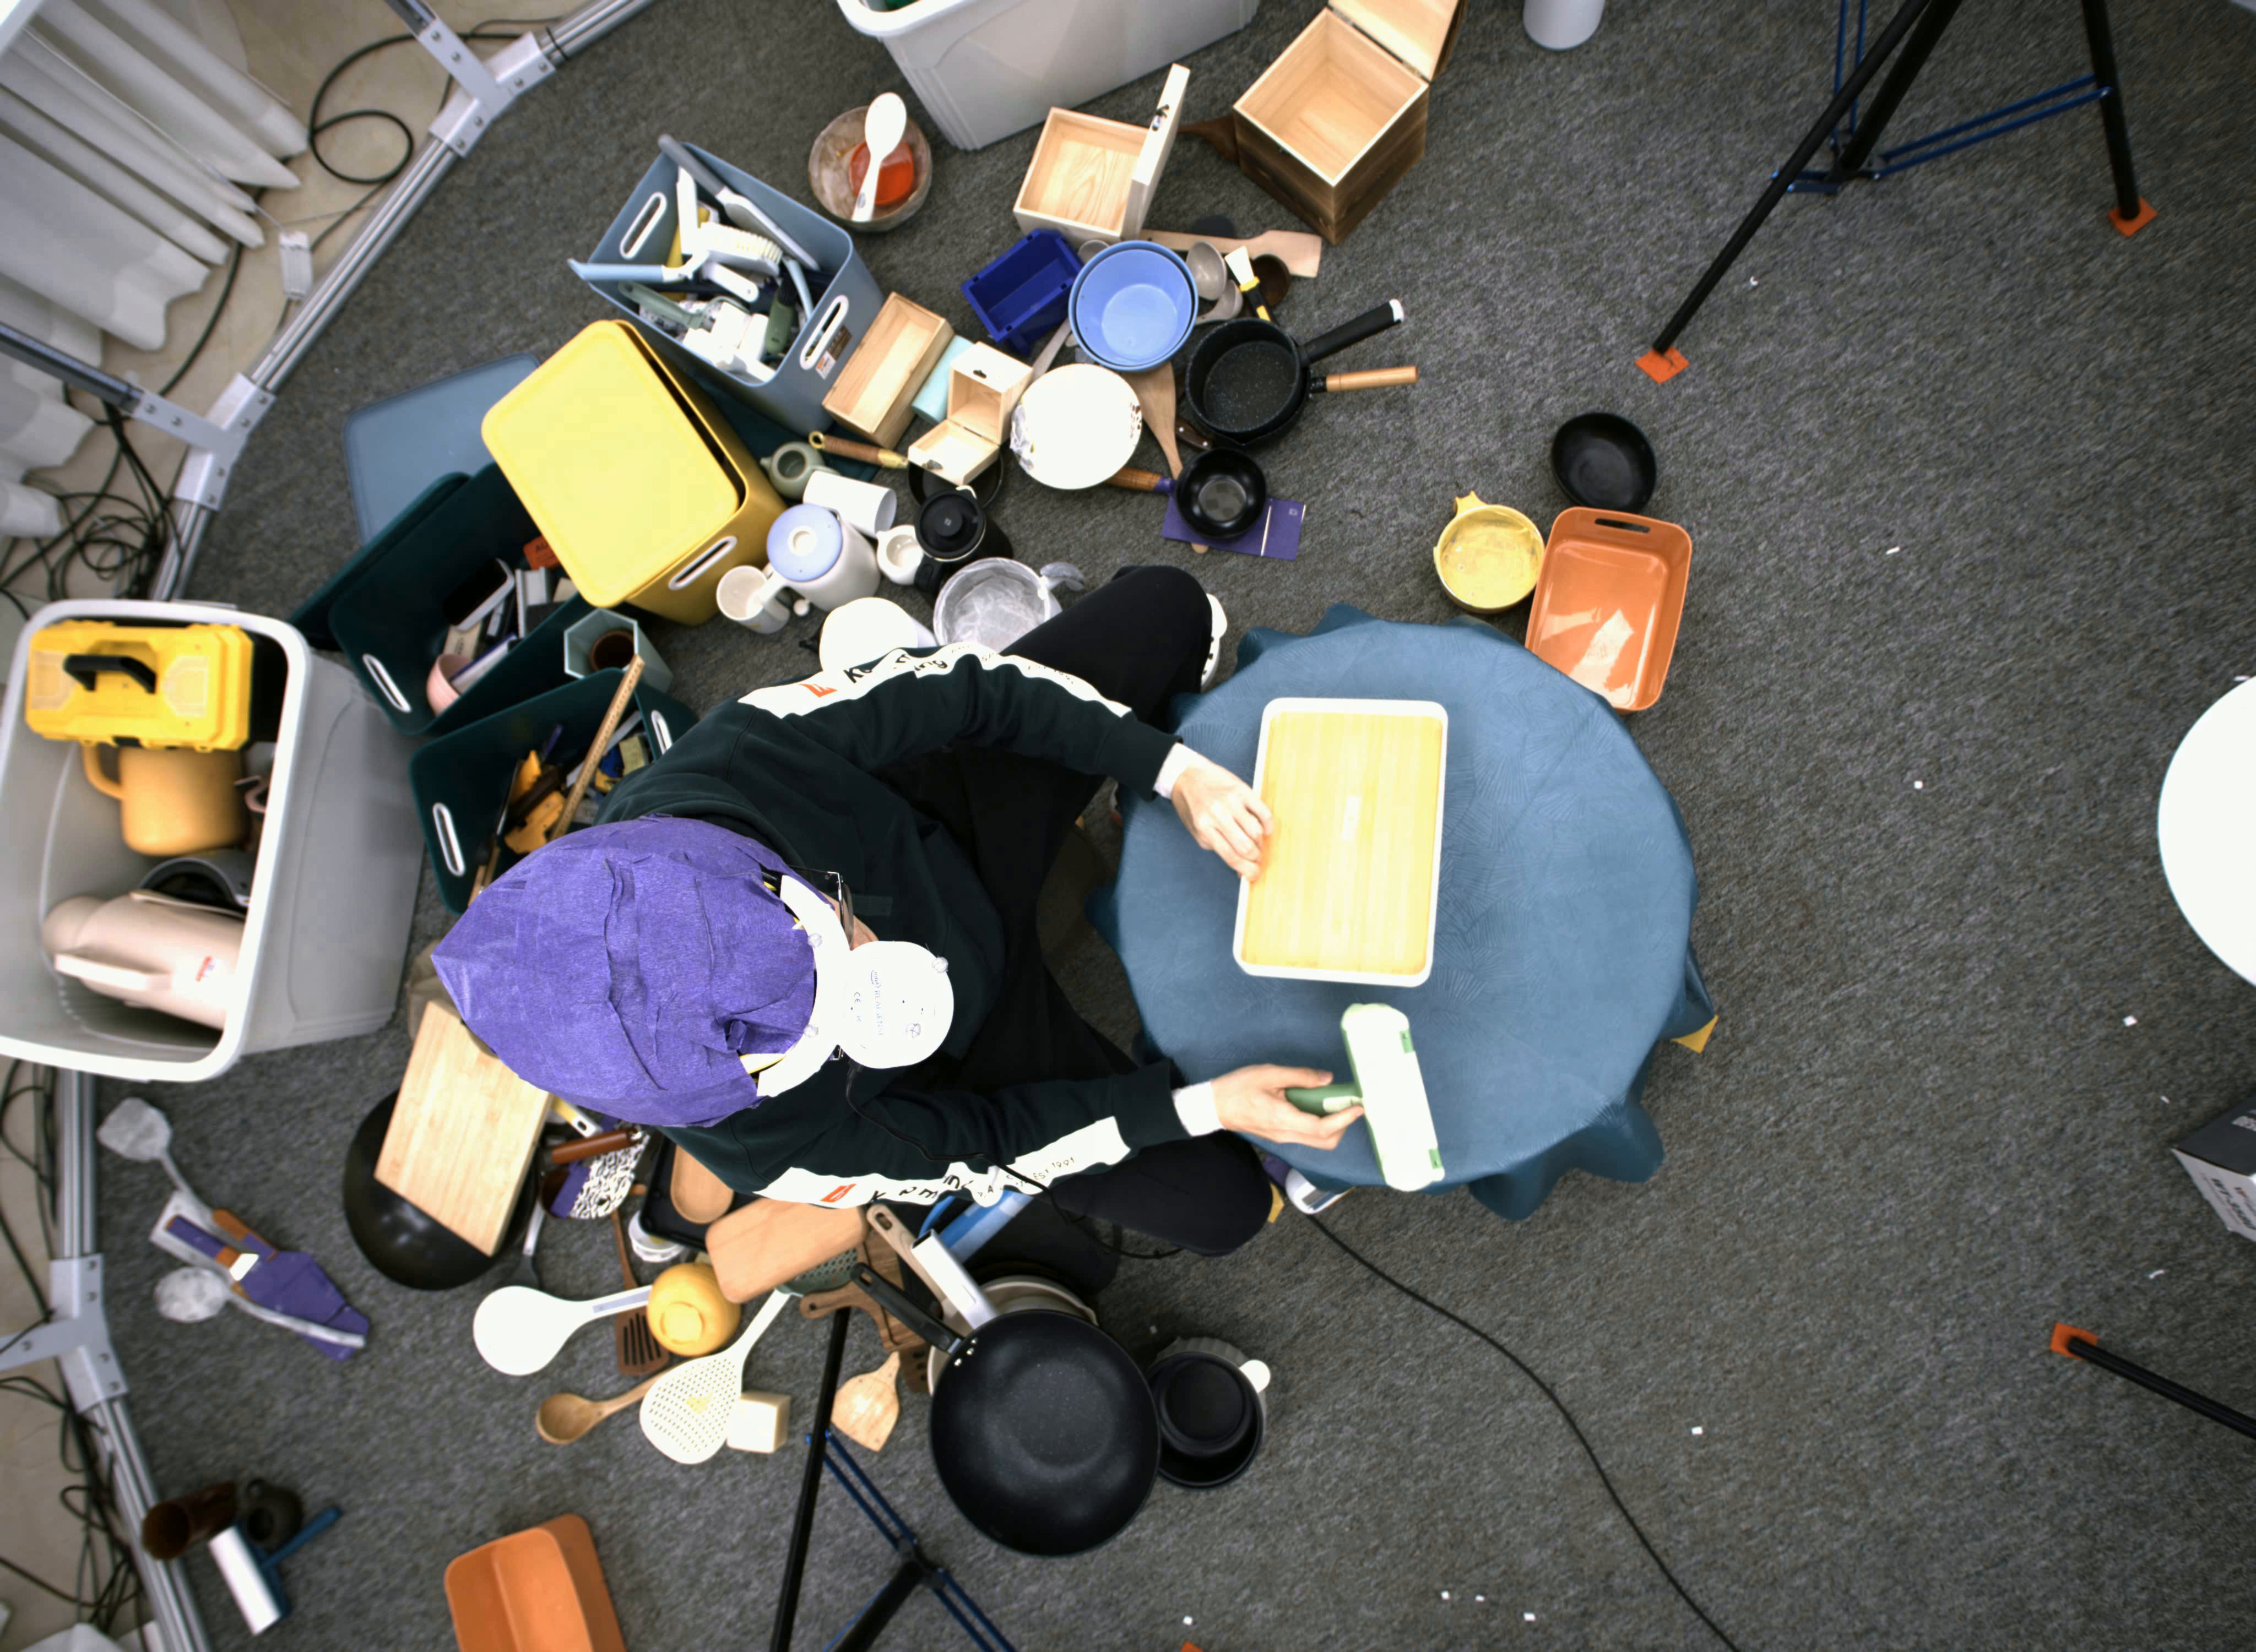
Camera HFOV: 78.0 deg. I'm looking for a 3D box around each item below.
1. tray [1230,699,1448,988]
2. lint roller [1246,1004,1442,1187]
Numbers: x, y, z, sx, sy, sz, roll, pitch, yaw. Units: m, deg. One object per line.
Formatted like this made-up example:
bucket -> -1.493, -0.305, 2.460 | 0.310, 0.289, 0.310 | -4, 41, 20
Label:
tray -> 0.213, 0.010, 1.370 | 0.192, 0.028, 0.294 | 3, 68, 17
lint roller -> 0.201, 0.276, 1.367 | 0.185, 0.080, 0.202 | -11, 115, 19
